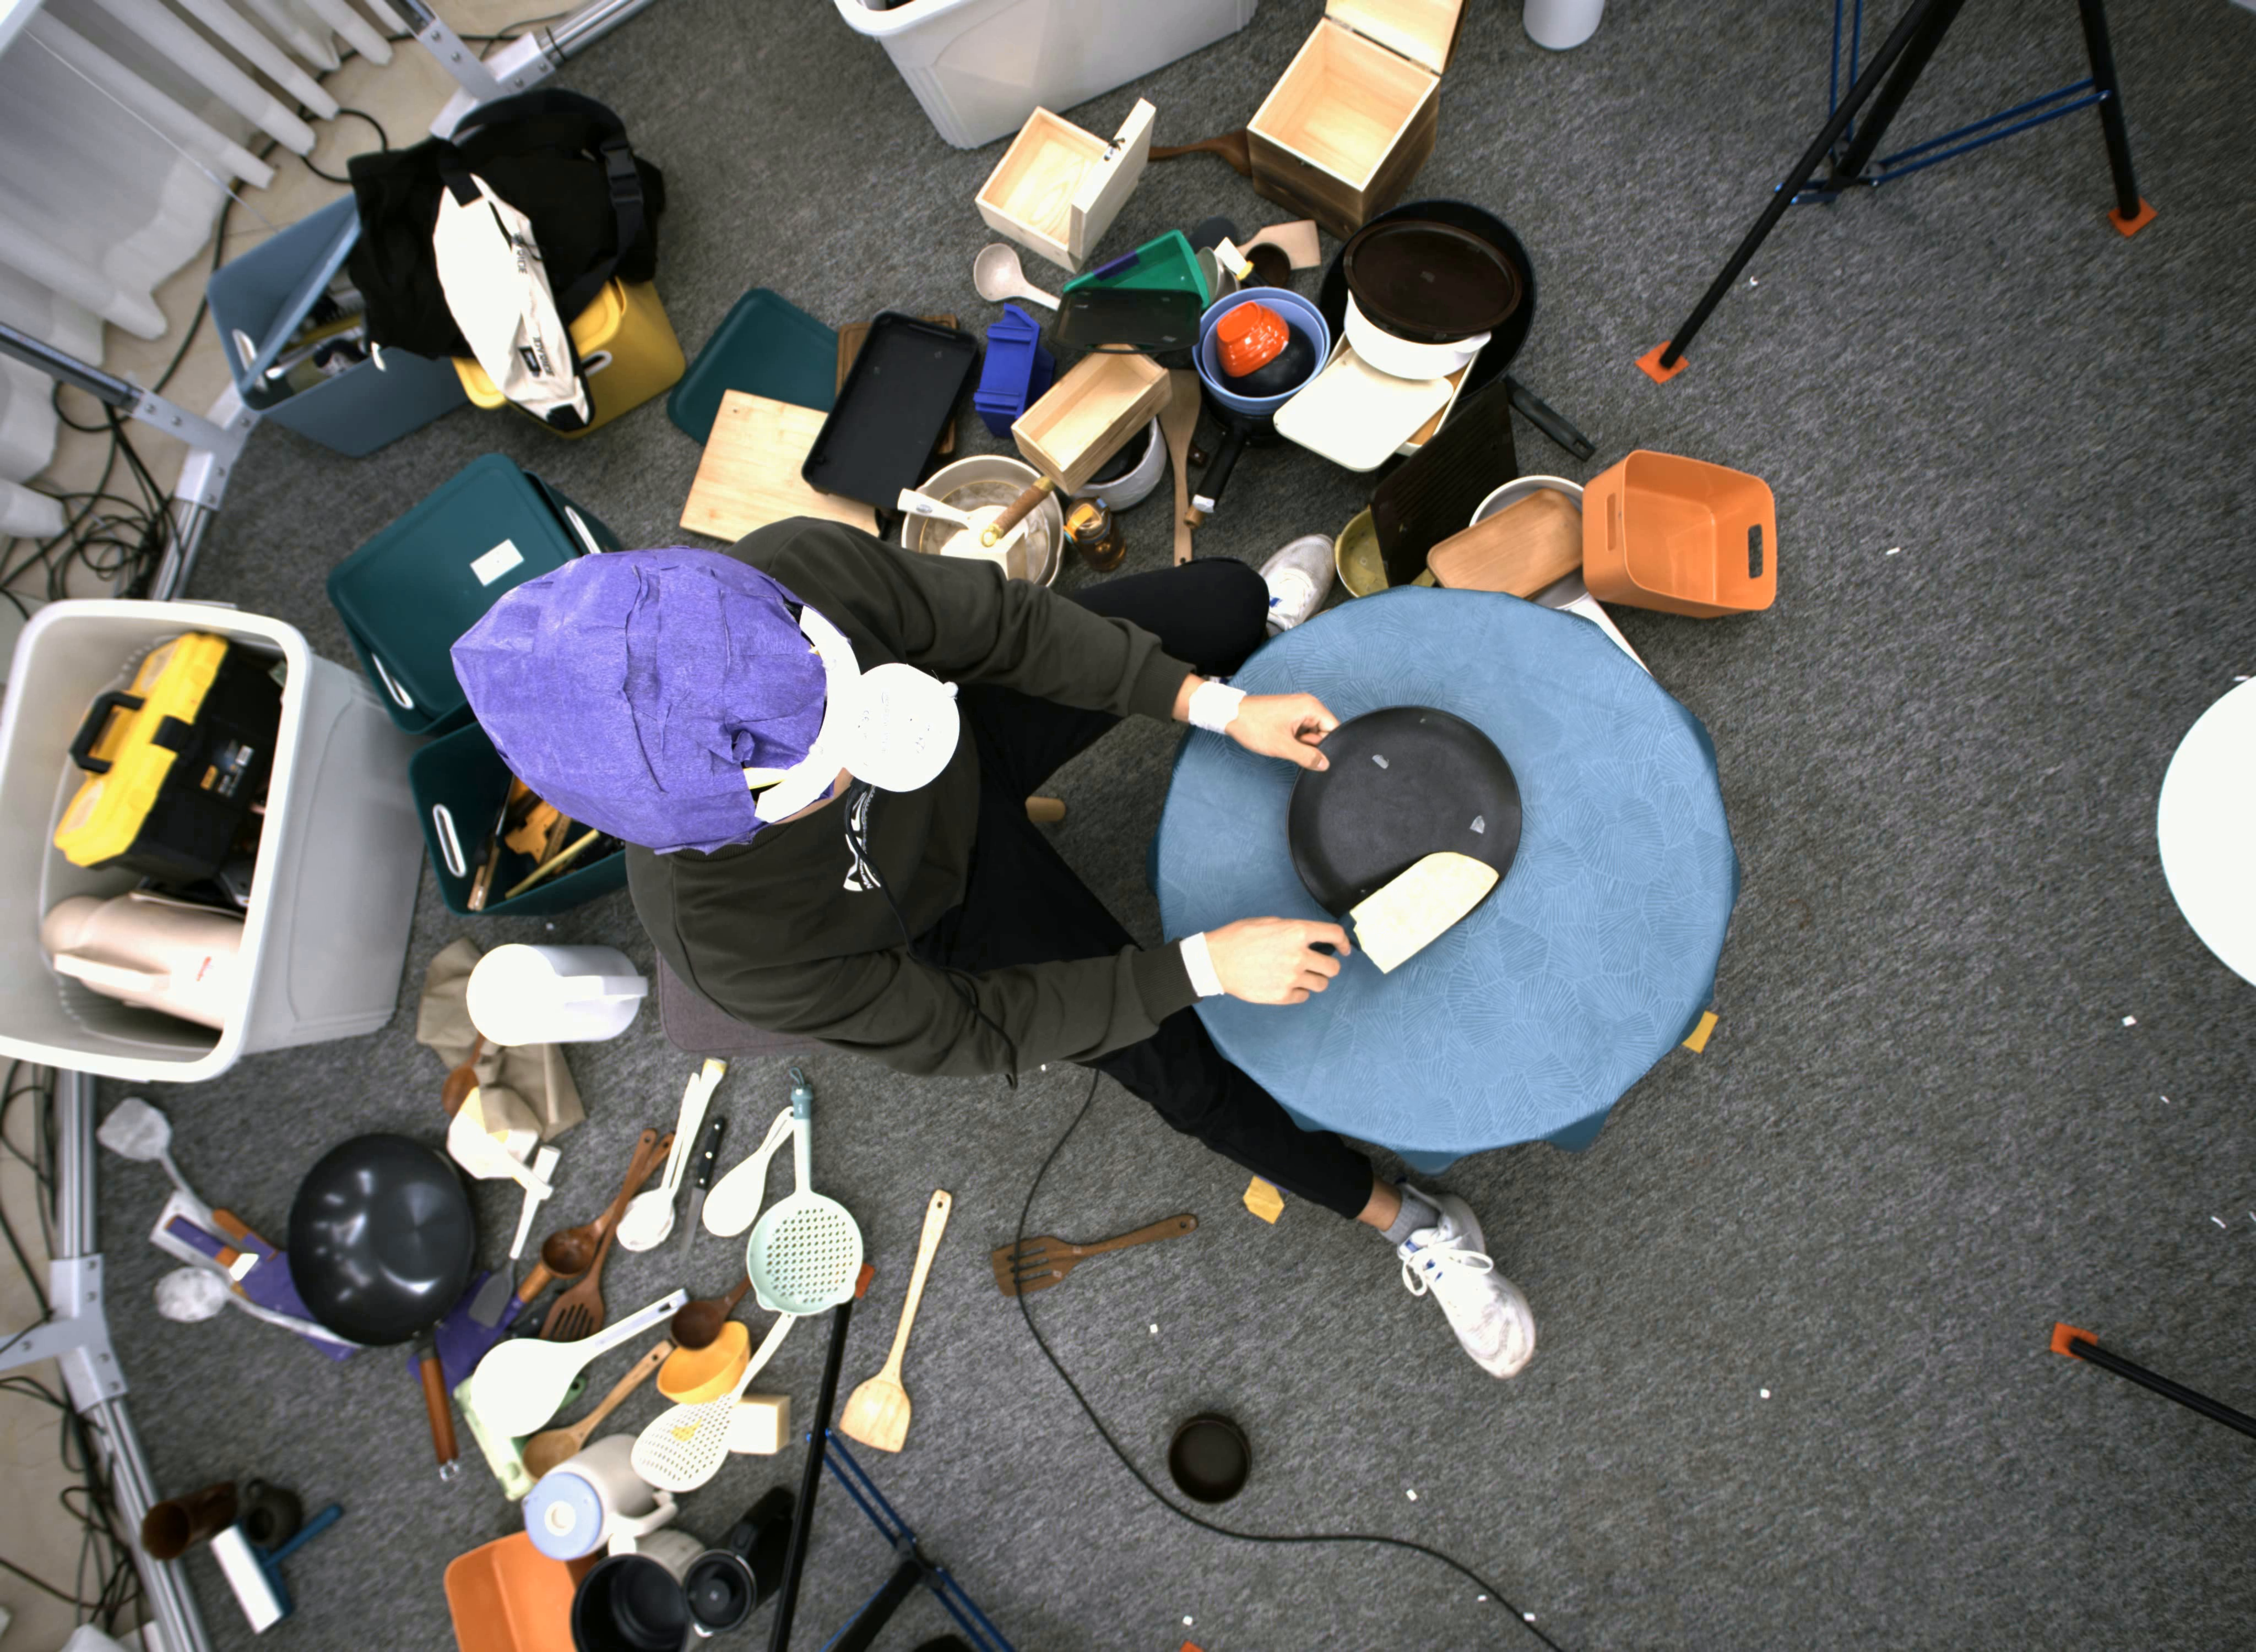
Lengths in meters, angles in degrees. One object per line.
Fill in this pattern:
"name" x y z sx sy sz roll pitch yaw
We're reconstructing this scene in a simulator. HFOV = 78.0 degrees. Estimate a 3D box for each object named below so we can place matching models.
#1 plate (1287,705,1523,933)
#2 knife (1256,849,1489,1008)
"plate" 0.284 -0.006 1.422 0.245 0.023 0.247 0 103 1
"knife" 0.253 0.106 1.393 0.287 0.028 0.080 -31 70 -13
